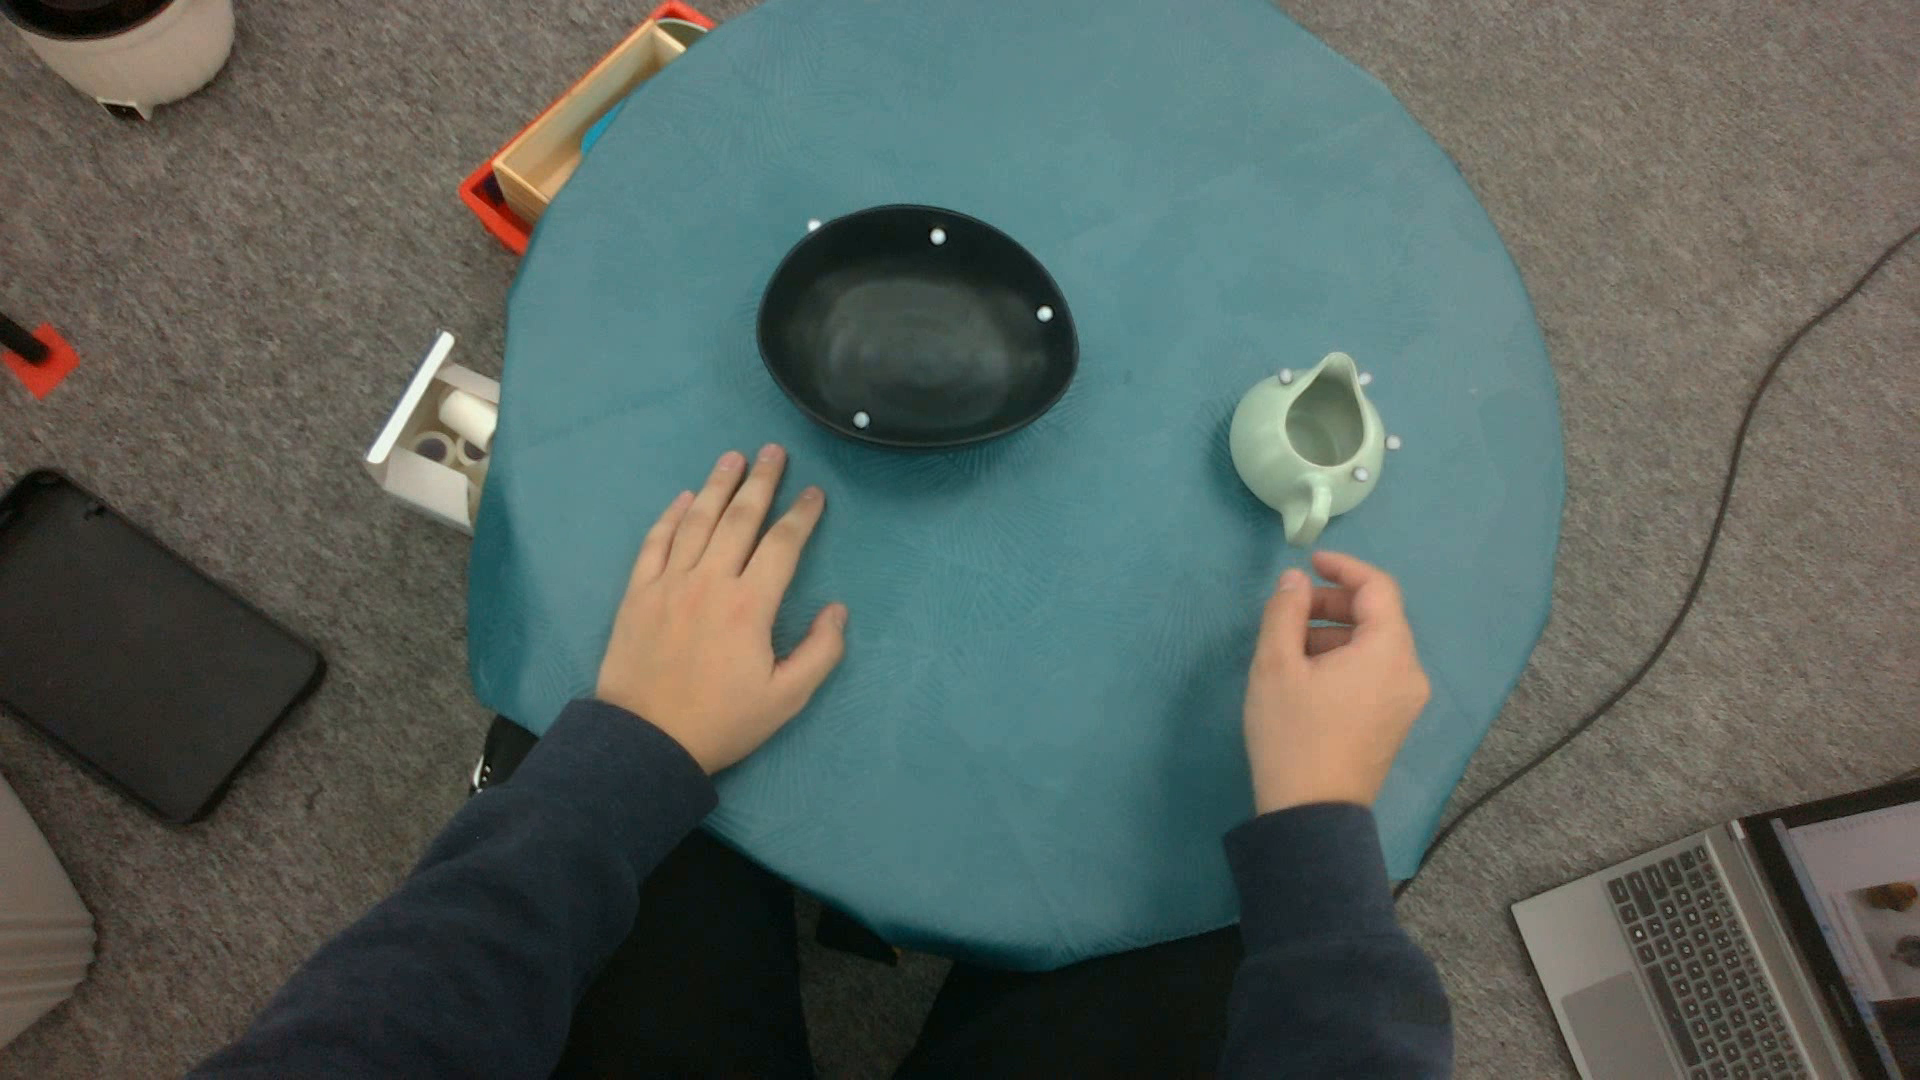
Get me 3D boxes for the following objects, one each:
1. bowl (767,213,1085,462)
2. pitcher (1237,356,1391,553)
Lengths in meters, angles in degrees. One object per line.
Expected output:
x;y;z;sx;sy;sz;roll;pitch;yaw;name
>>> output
-0.019;-0.102;0.750;0.170;0.066;0.137;3;75;-6;bowl
0.196;-0.043;0.759;0.086;0.060;0.108;11;75;-1;pitcher
